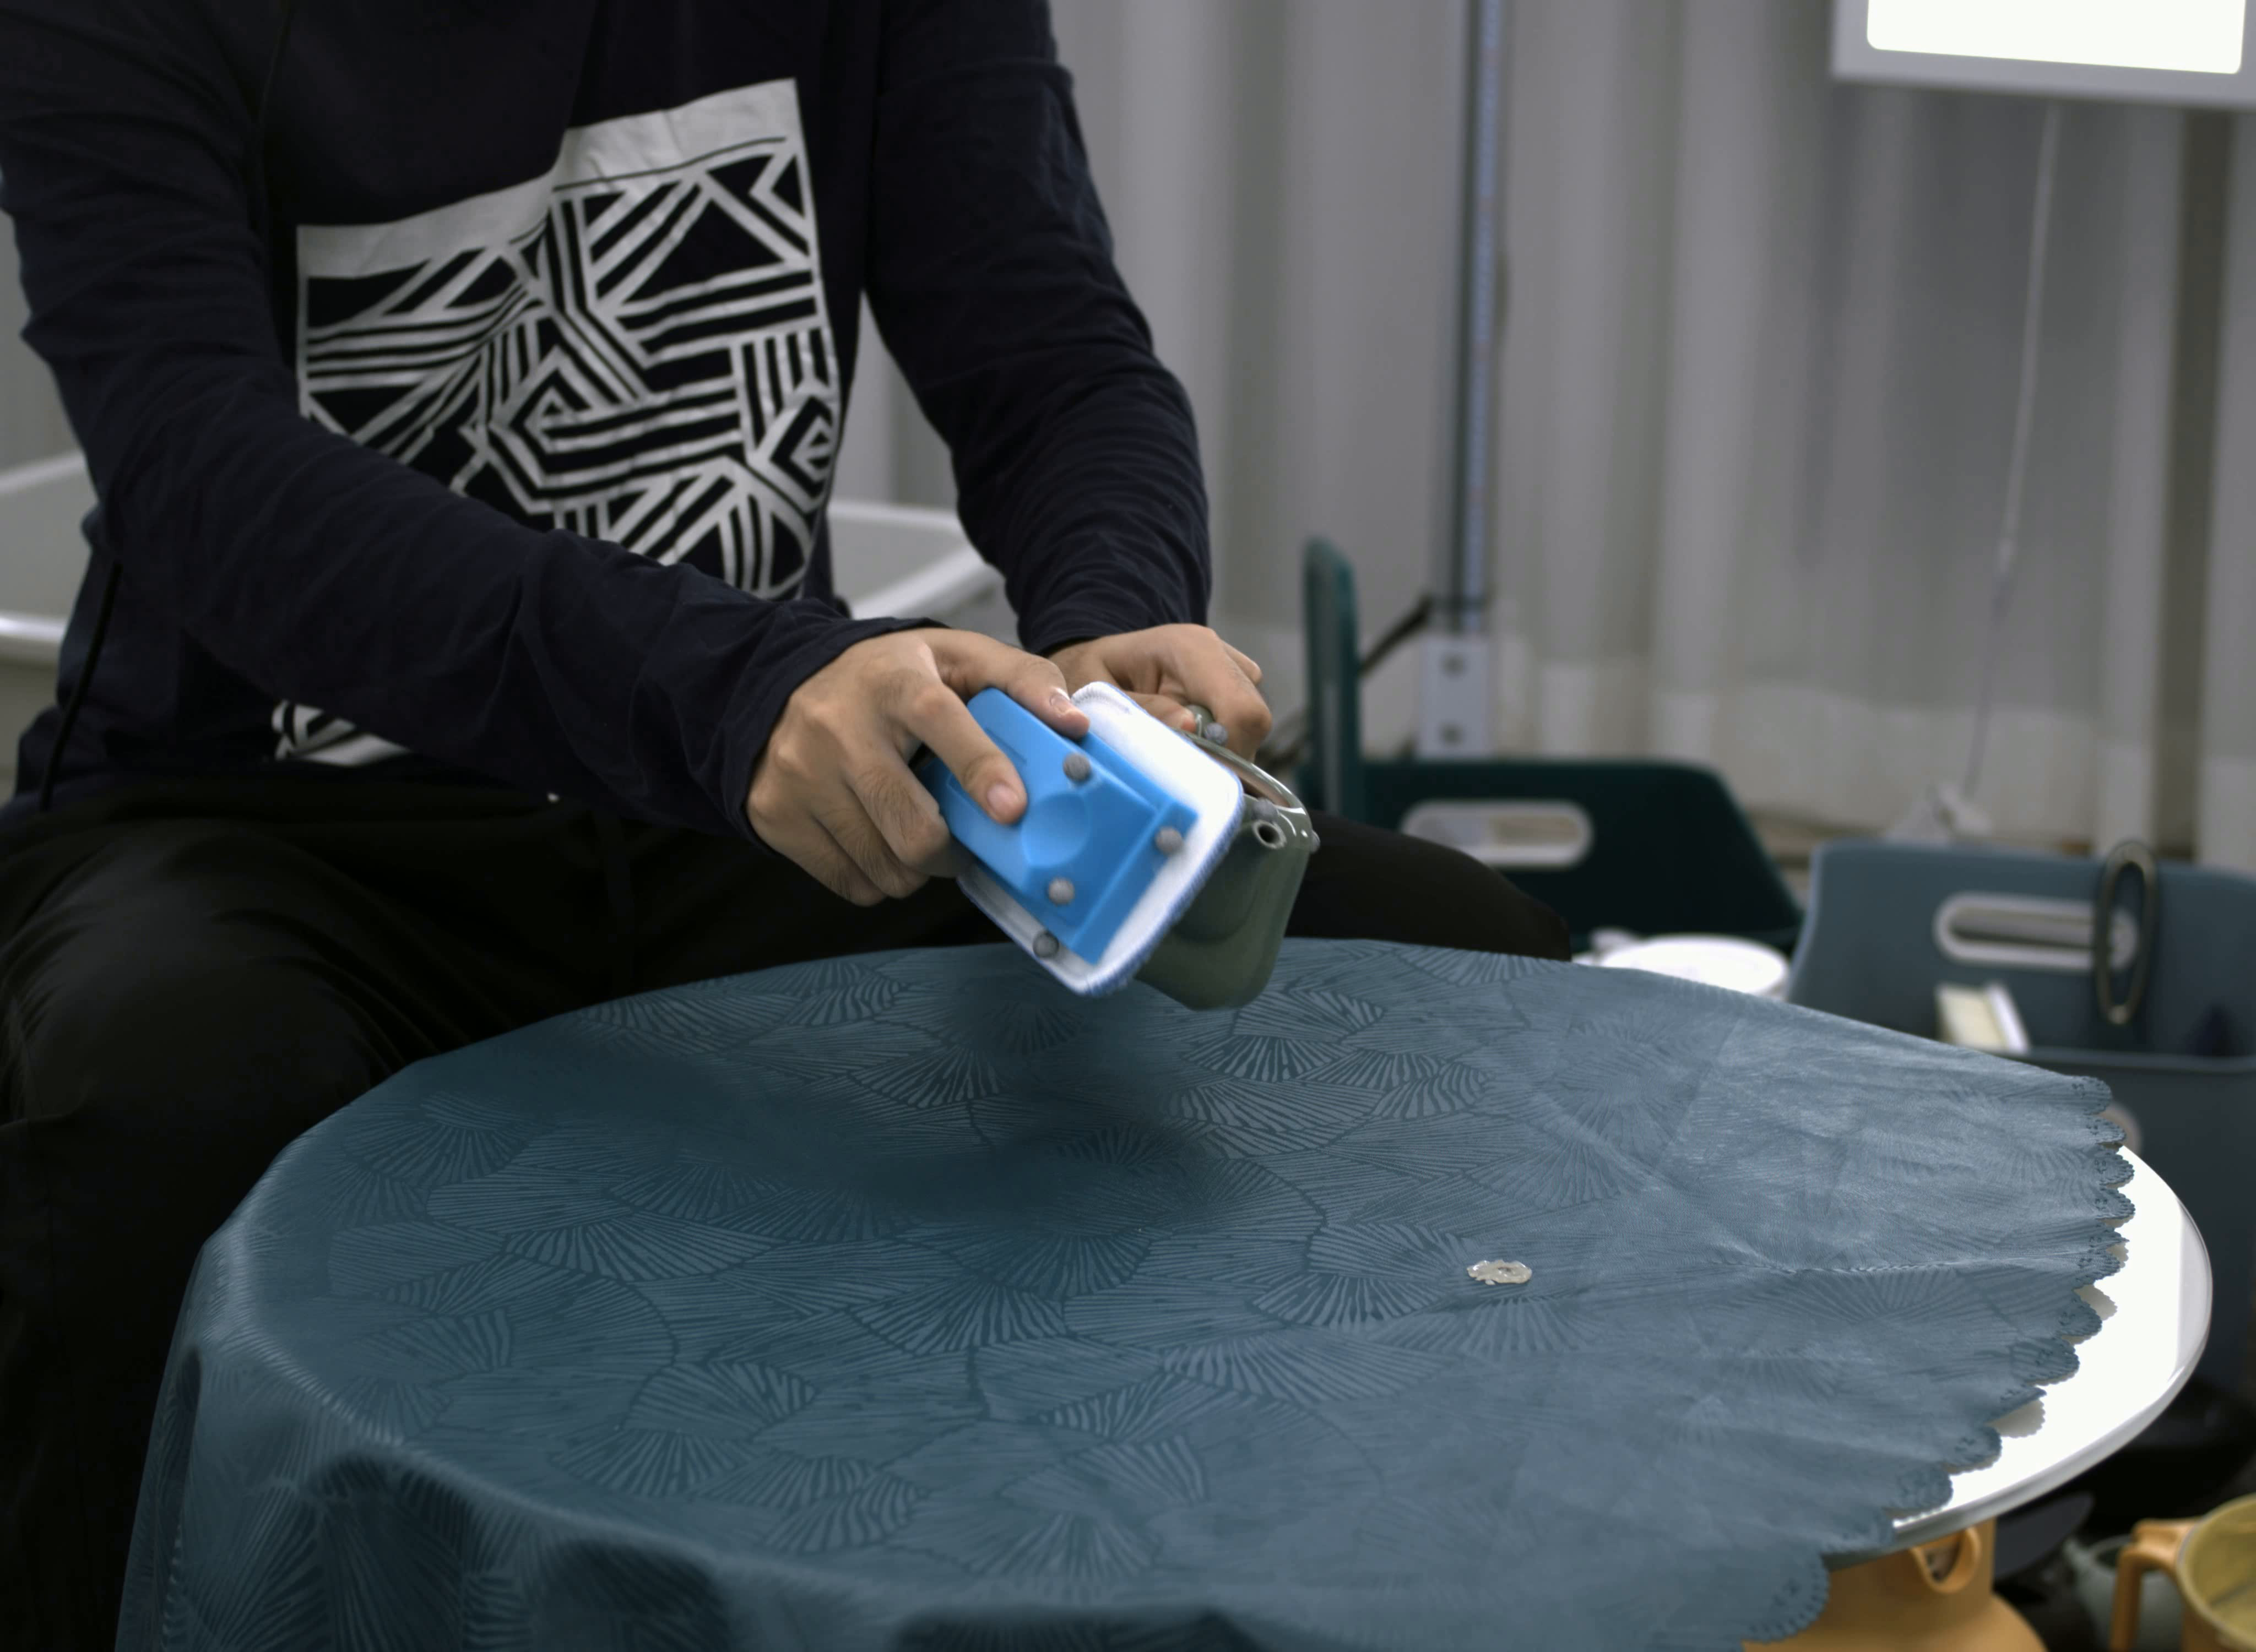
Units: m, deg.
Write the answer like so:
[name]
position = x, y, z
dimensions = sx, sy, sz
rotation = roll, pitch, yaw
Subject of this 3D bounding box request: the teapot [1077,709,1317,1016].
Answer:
[teapot]
position = 0.018, 0.012, 1.655
dimensions = 0.080, 0.075, 0.131
rotation = 27, 11, -19

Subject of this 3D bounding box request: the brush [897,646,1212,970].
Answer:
[brush]
position = -0.031, -0.011, 1.614
dimensions = 0.056, 0.084, 0.142
rotation = 39, 0, -28
